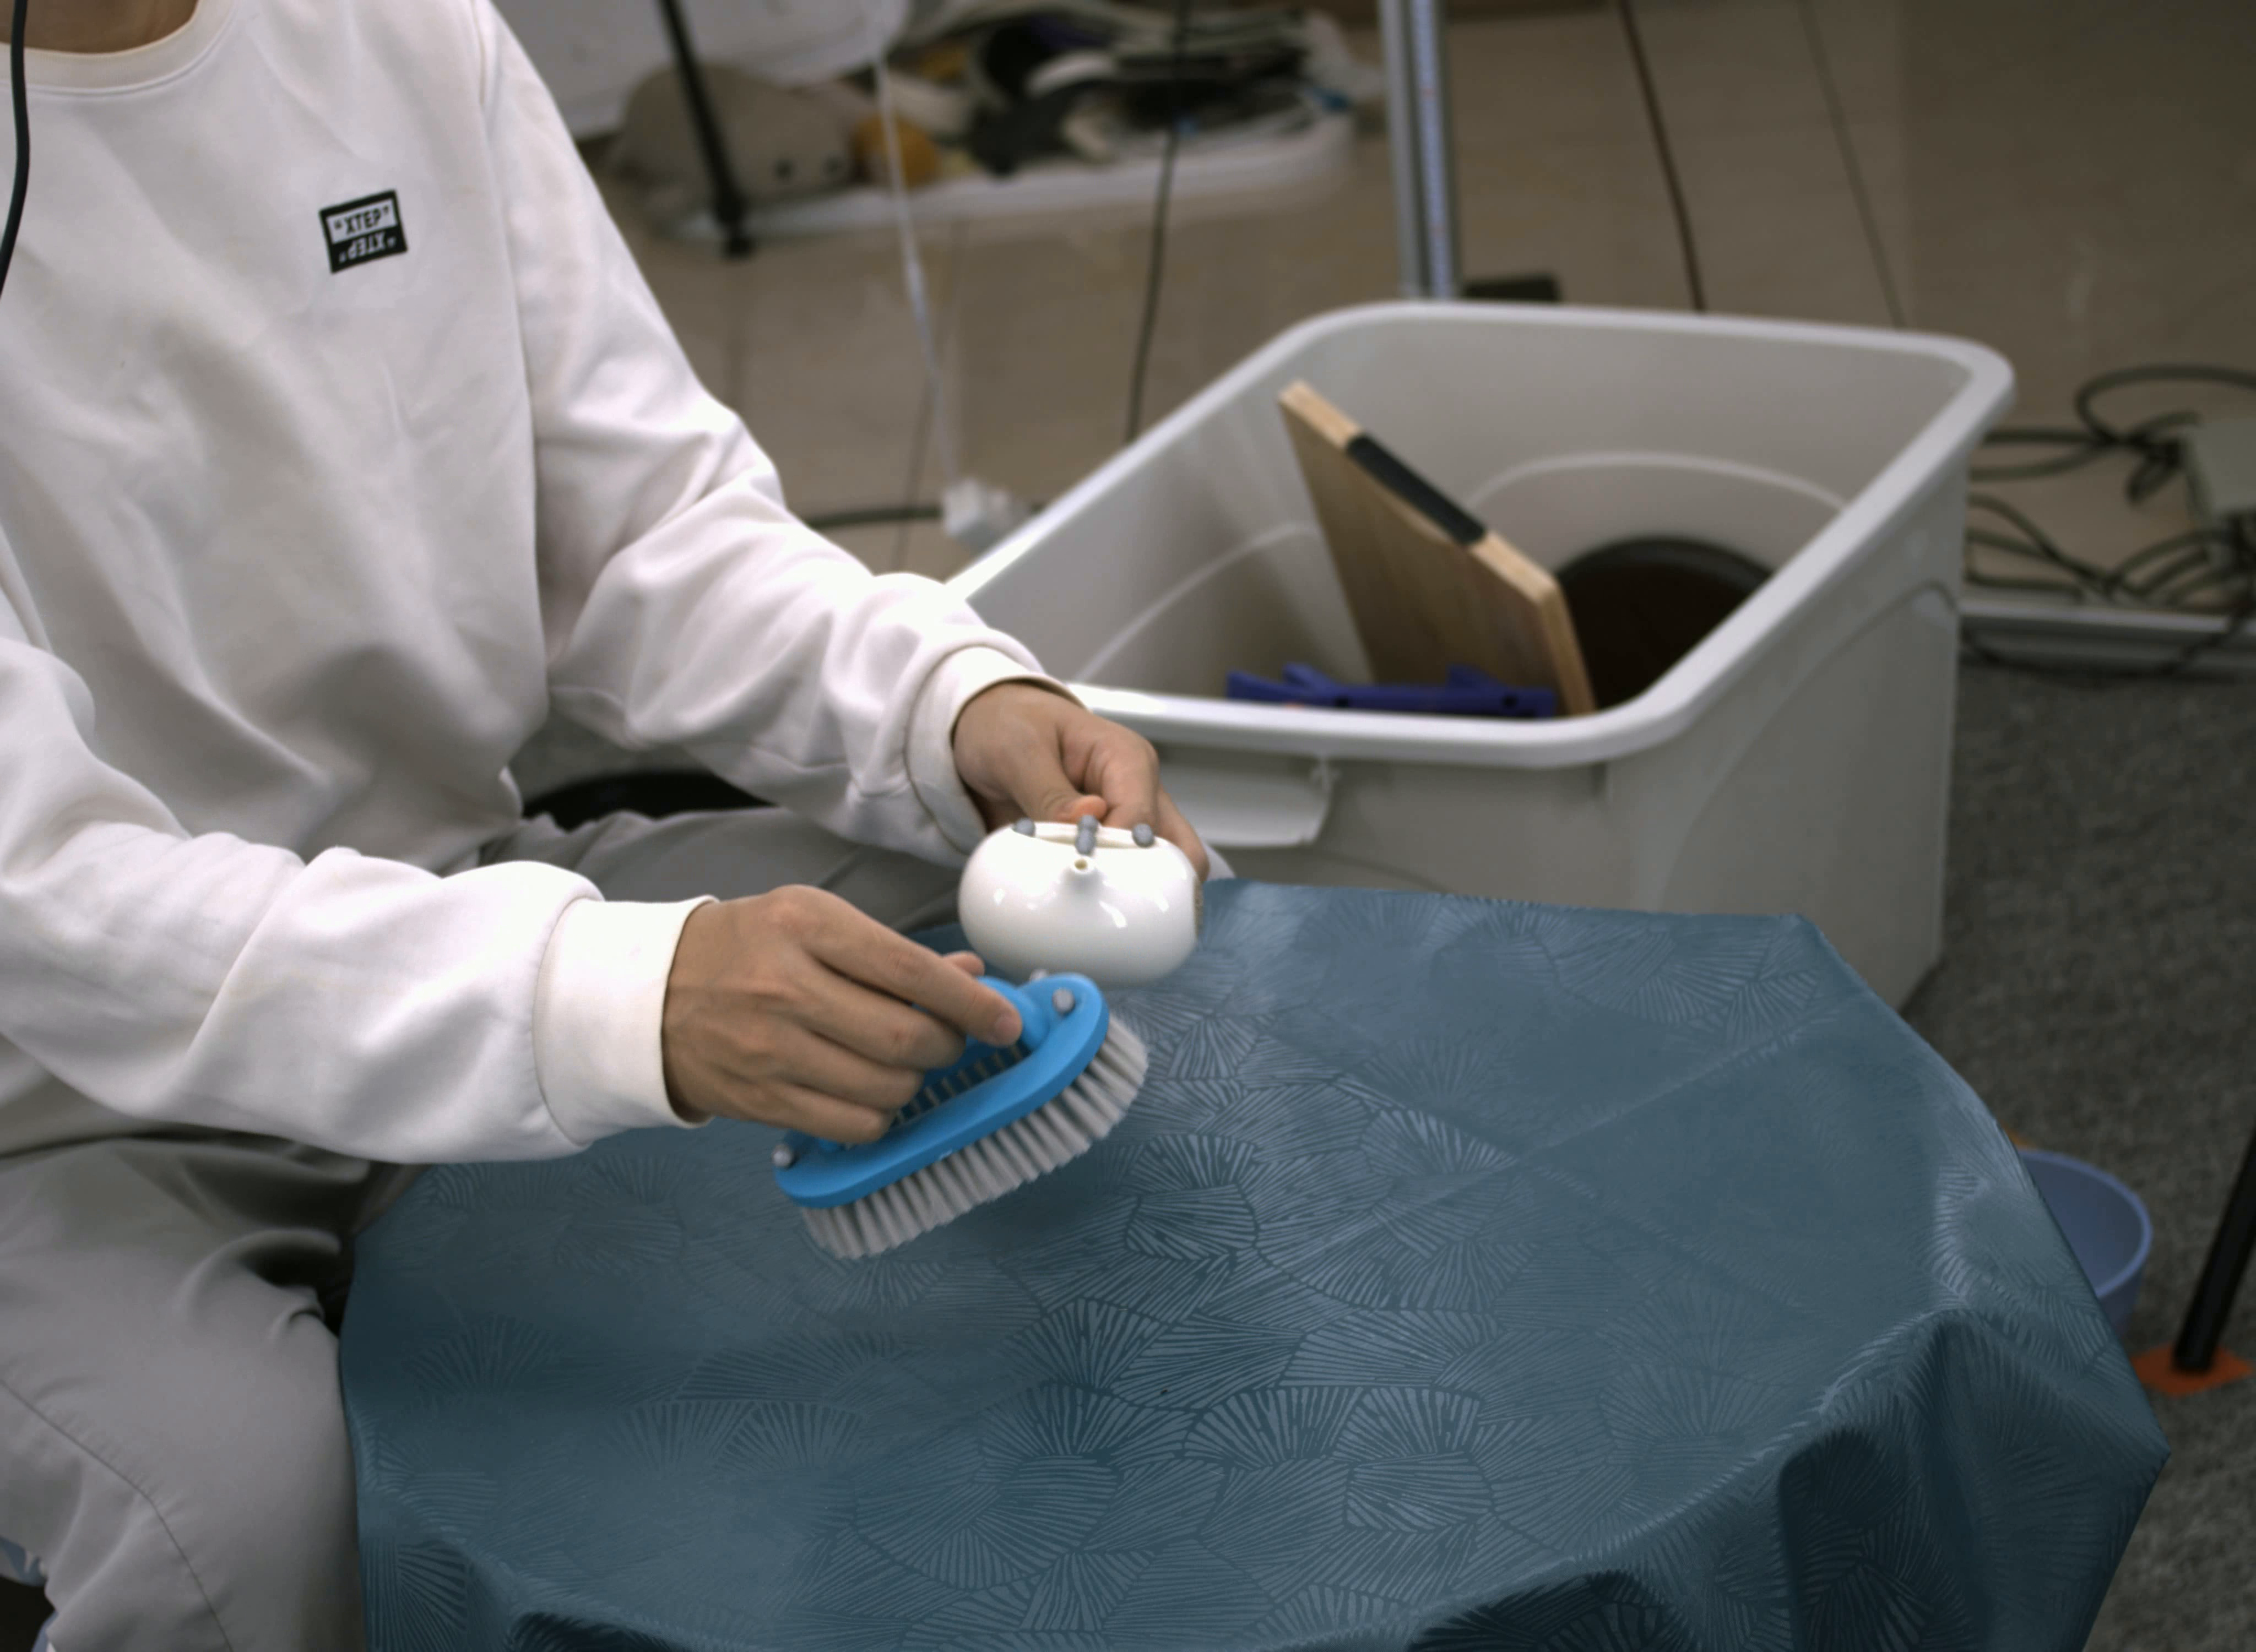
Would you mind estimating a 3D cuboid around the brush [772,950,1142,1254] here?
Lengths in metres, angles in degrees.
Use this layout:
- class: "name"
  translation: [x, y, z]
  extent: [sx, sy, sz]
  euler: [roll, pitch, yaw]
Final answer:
- class: "brush"
  translation: [-0.068, 0.091, 2.019]
  extent: [0.142, 0.064, 0.083]
  euler: [-29, 34, 15]

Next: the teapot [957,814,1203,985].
- class: "teapot"
  translation: [-0.019, 0.027, 2.156]
  extent: [0.093, 0.057, 0.126]
  euler: [2, 8, -3]
